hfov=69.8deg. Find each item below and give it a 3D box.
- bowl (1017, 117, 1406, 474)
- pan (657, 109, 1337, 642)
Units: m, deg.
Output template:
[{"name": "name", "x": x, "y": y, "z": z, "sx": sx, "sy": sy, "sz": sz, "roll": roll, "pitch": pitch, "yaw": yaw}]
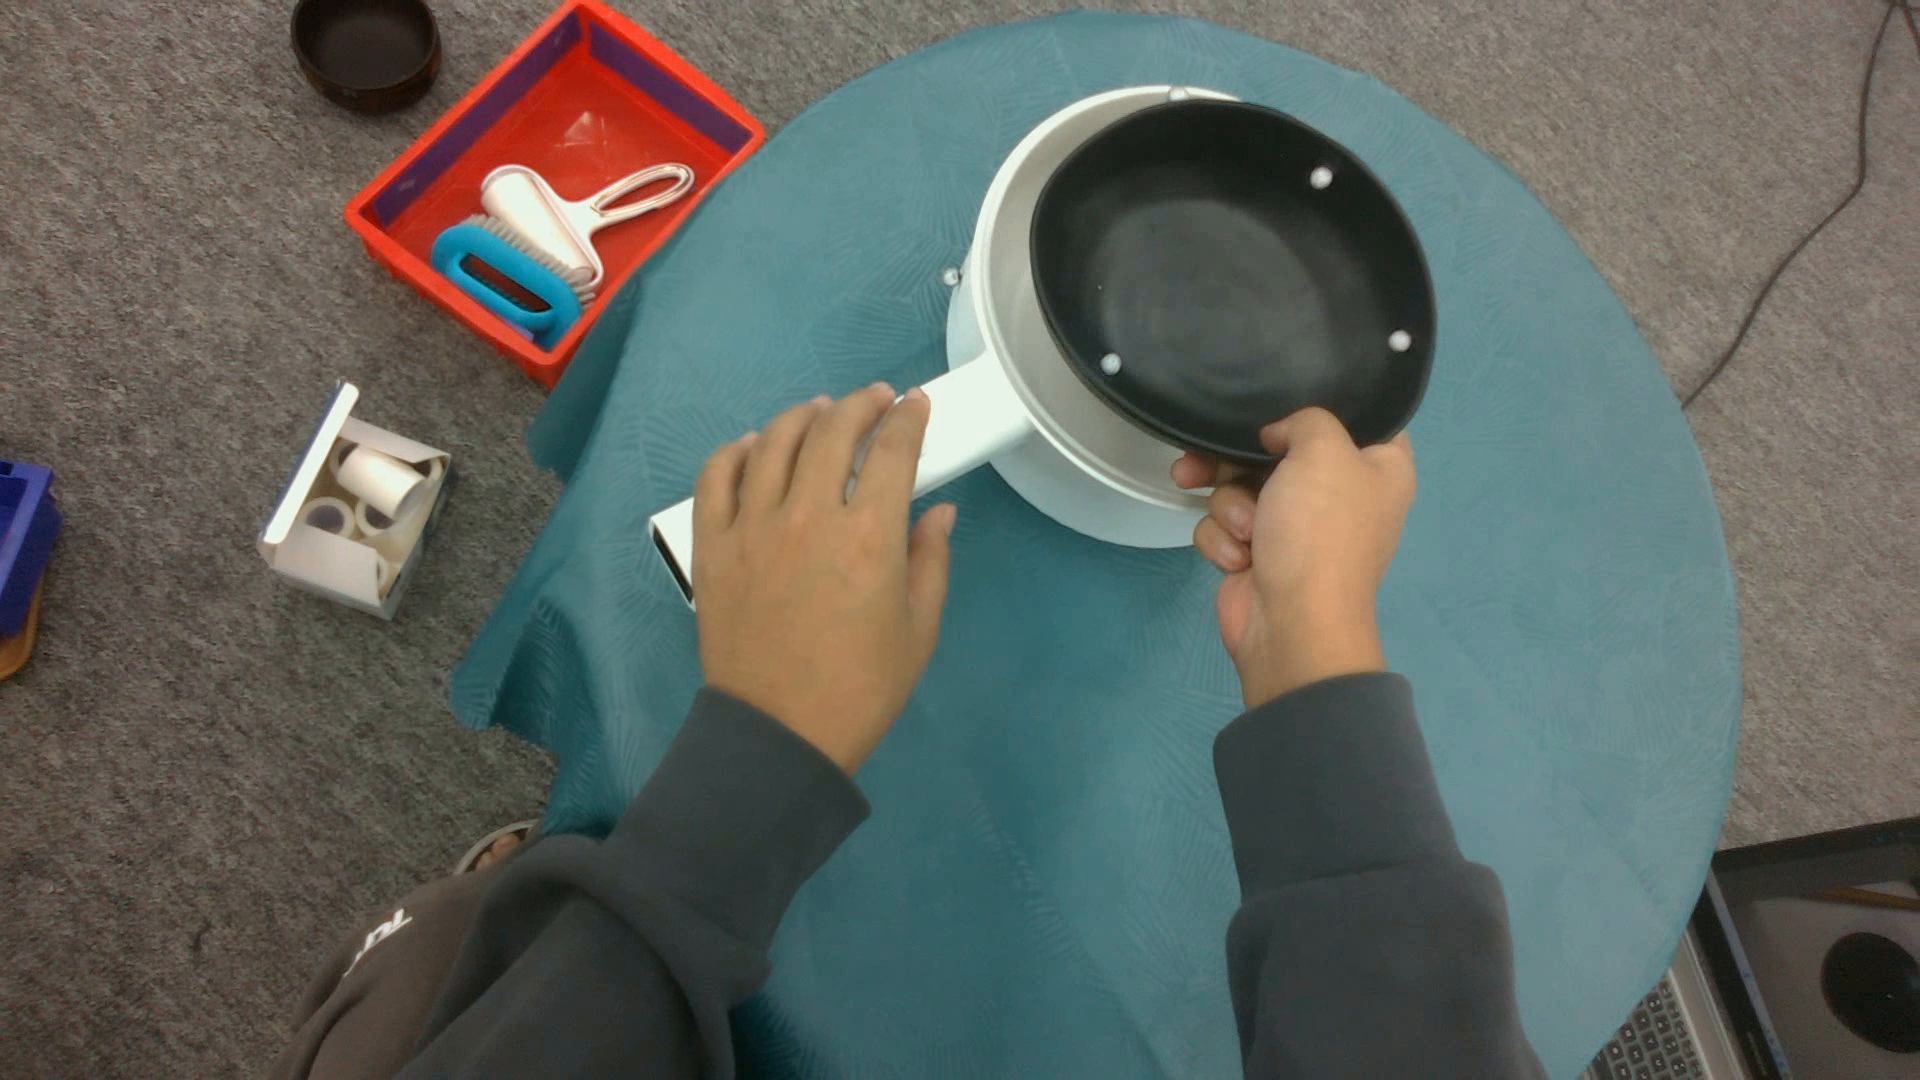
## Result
[{"name": "bowl", "x": 0.101, "y": -0.094, "z": 0.571, "sx": 0.170, "sy": 0.066, "sz": 0.137, "roll": 27, "pitch": 78, "yaw": -1}, {"name": "pan", "x": 0.026, "y": -0.055, "z": 0.640, "sx": 0.356, "sy": 0.102, "sz": 0.201, "roll": -32, "pitch": 86, "yaw": -17}]
